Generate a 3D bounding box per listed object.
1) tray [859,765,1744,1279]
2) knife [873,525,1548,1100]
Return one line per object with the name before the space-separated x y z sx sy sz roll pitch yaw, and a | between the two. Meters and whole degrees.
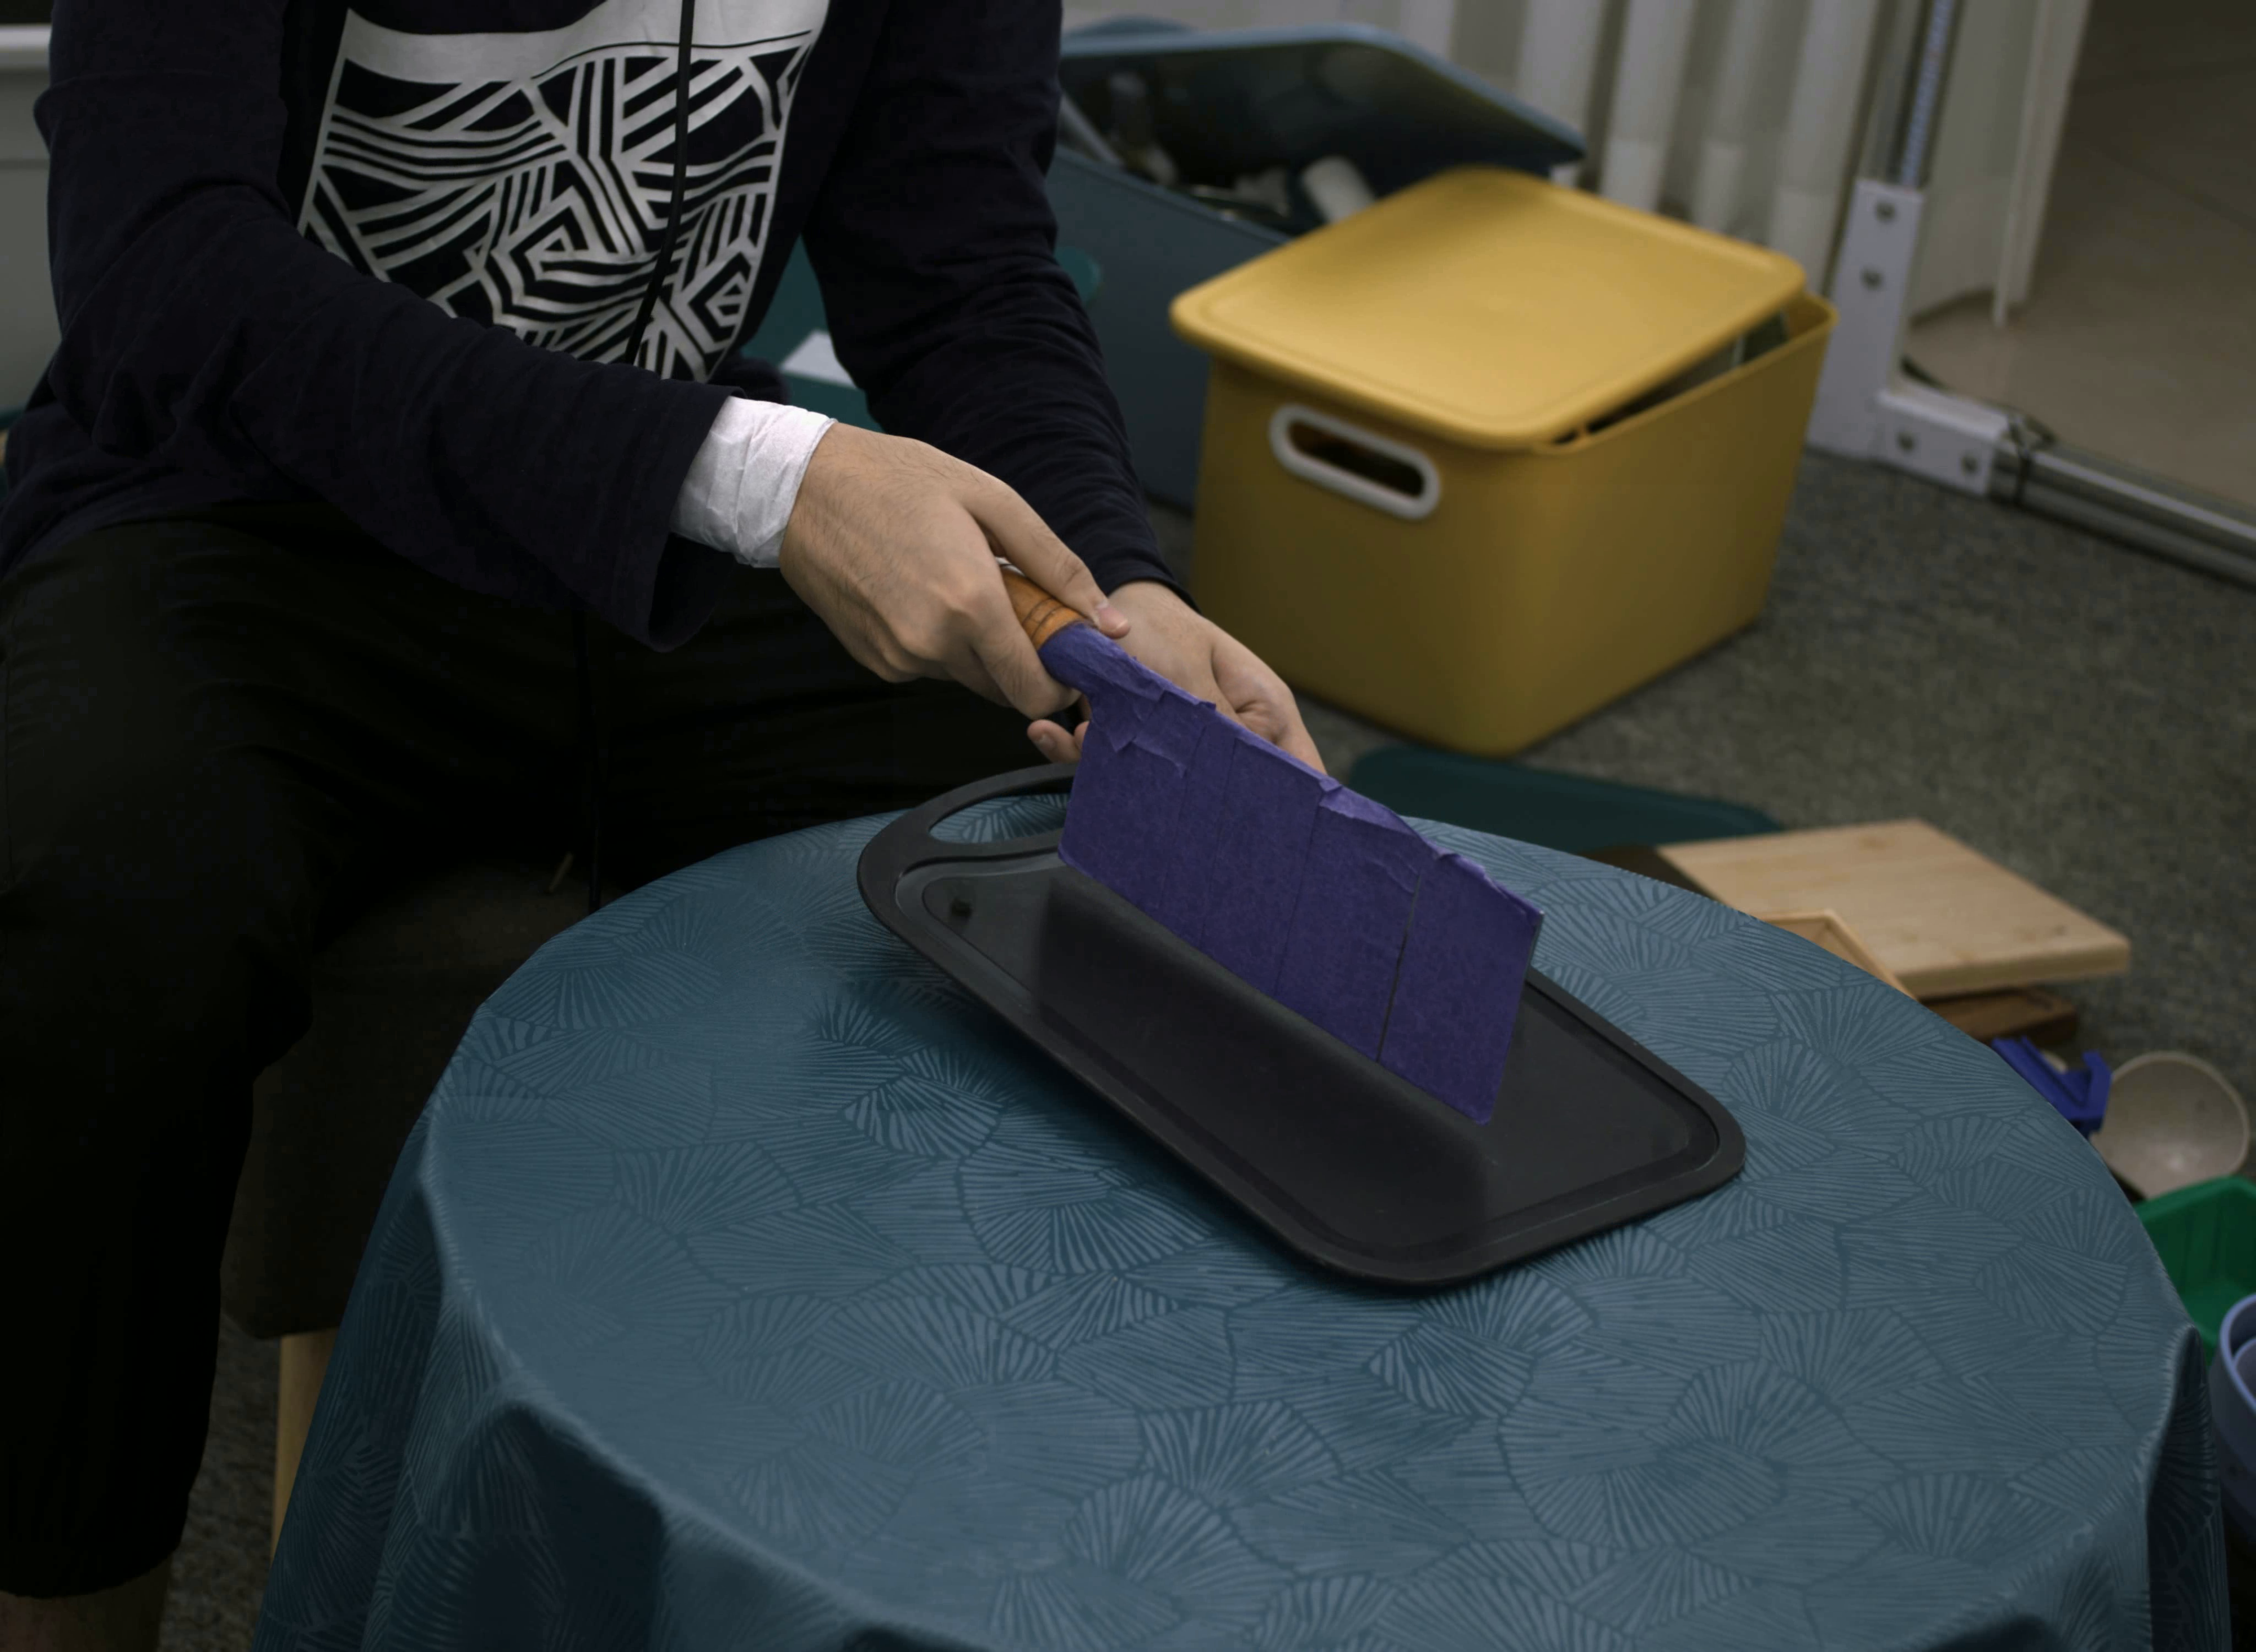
tray | 0.054 0.060 1.902 0.210 0.010 0.328 -14 38 -39
knife | 0.019 -0.004 1.898 0.317 0.103 0.032 33 32 34
